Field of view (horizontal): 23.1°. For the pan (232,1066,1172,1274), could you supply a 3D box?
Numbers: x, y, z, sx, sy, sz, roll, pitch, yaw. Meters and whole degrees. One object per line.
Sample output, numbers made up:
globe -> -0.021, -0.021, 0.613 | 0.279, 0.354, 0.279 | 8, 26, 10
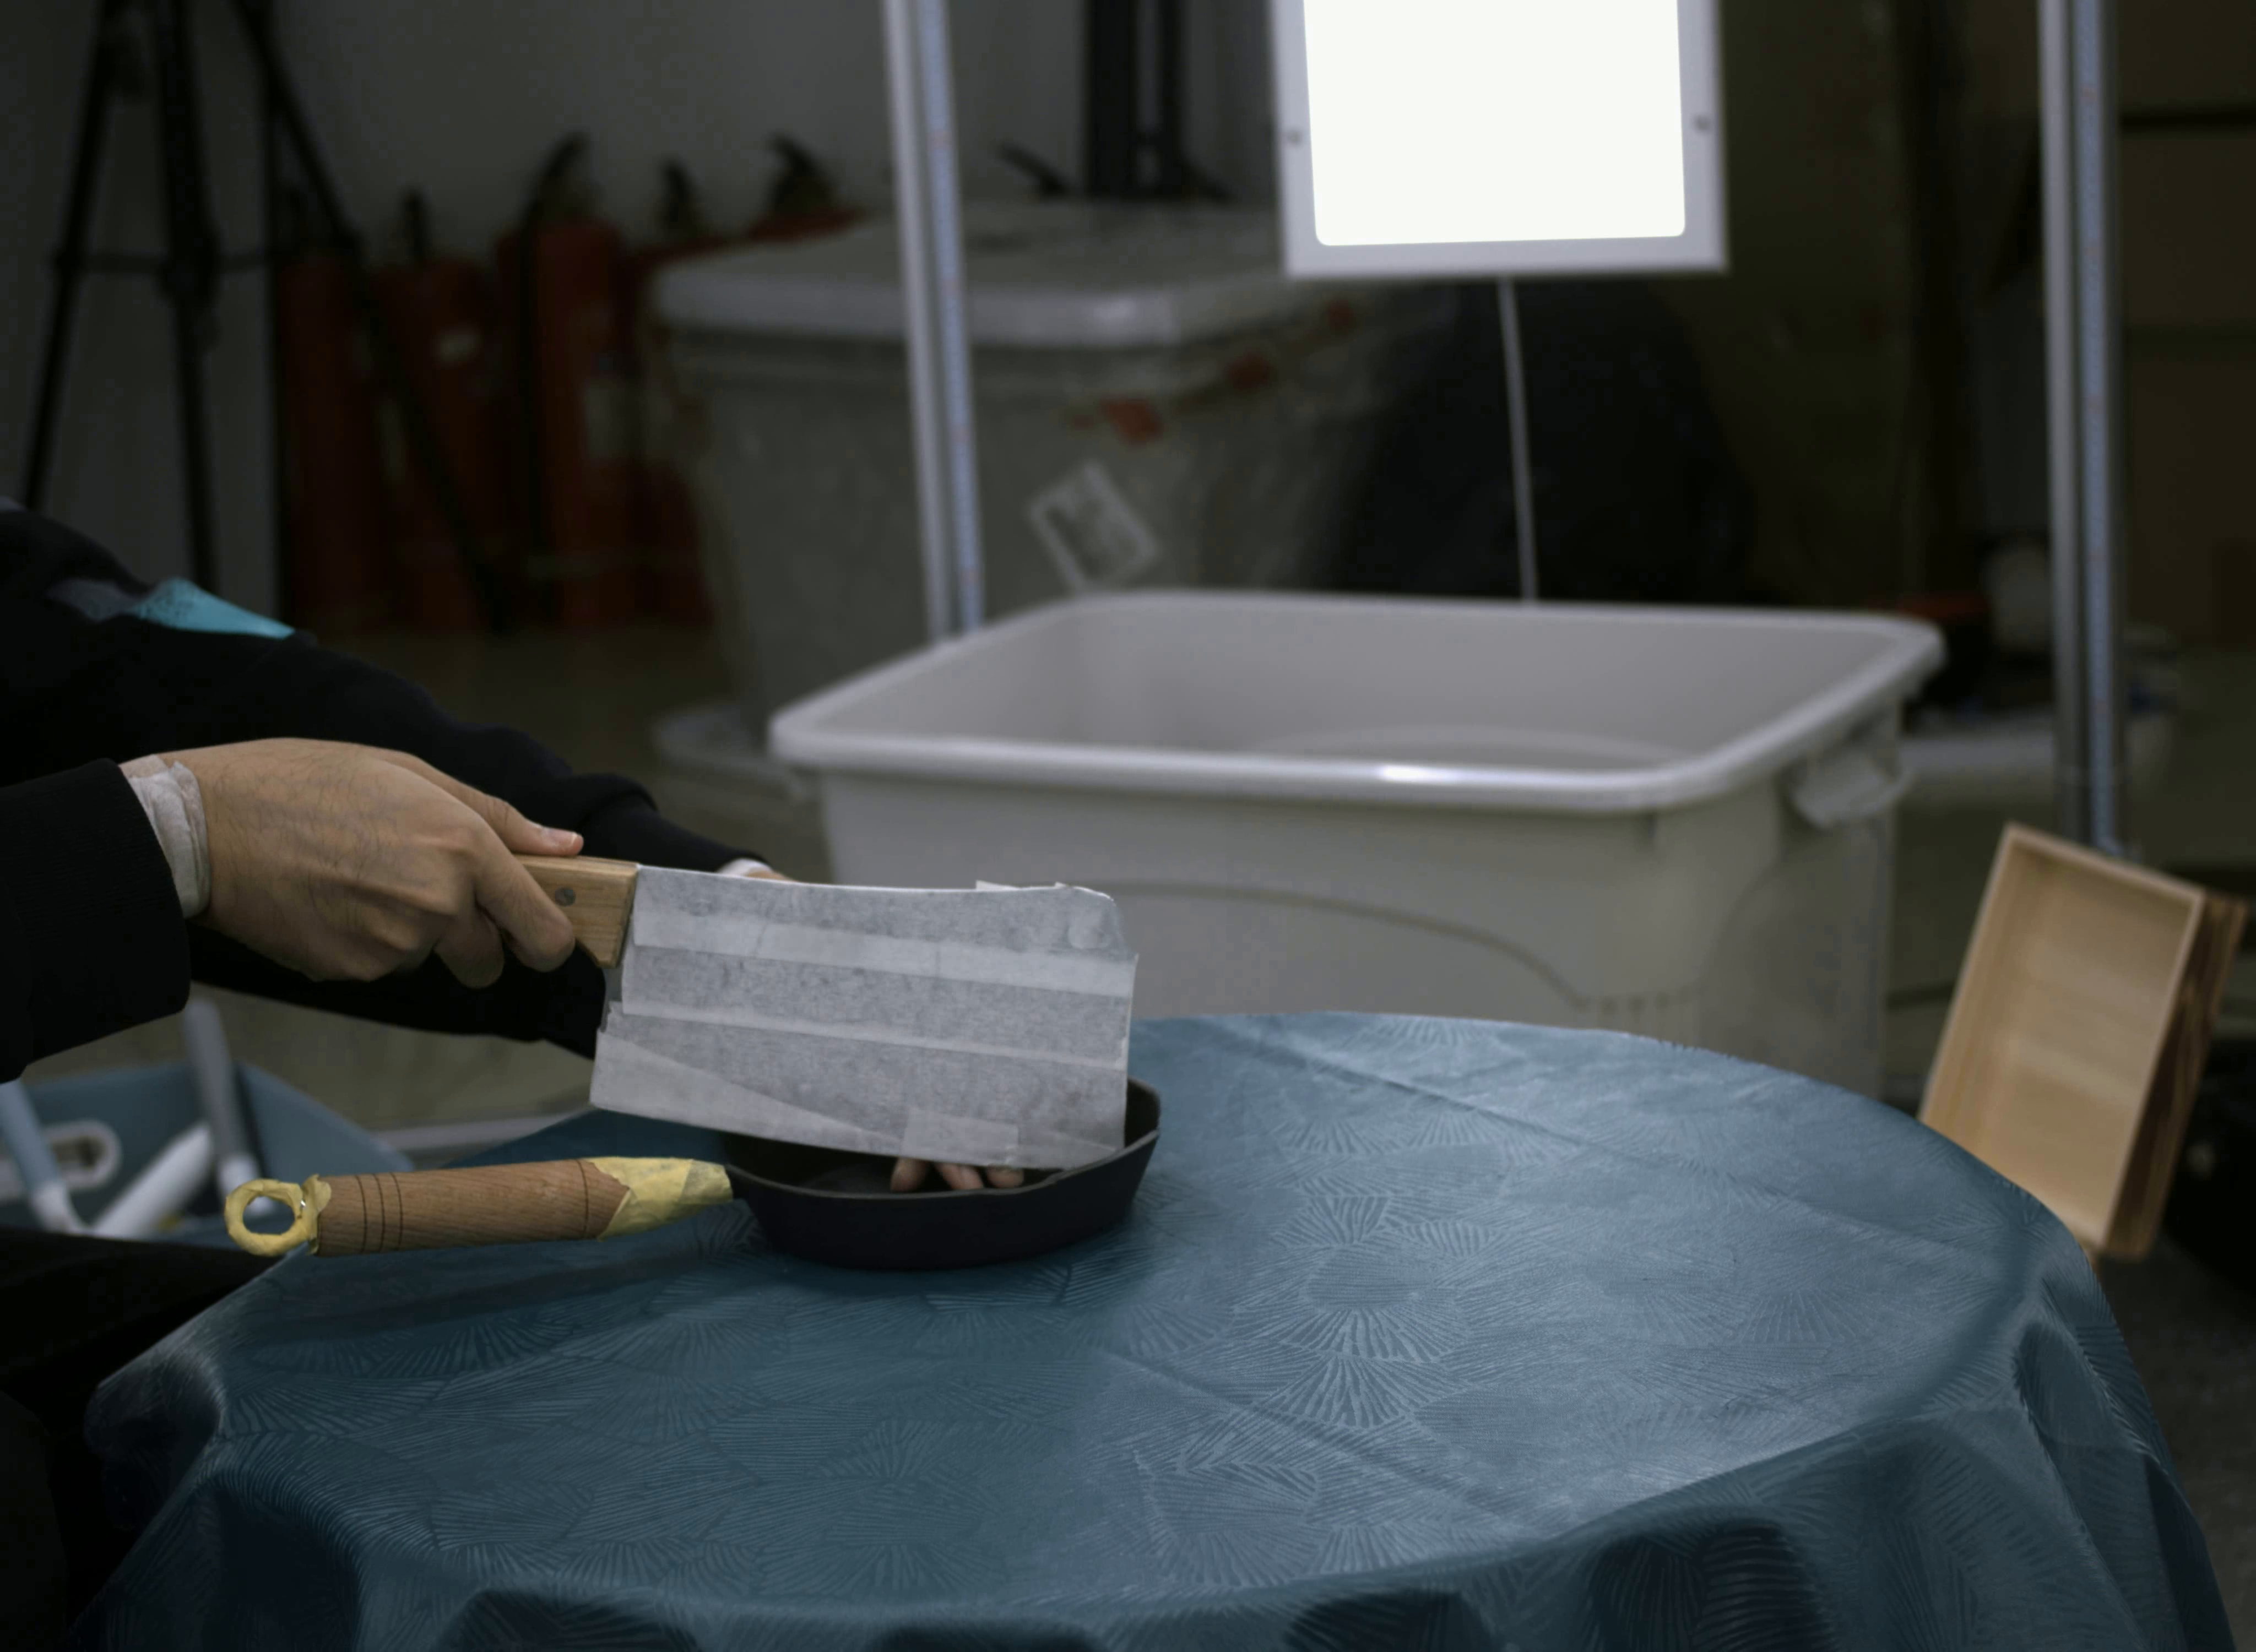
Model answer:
pan -> -0.141, 0.122, 1.861 | 0.319, 0.050, 0.171 | -8, 14, -17

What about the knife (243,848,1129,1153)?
knife -> -0.147, 0.048, 1.887 | 0.314, 0.114, 0.022 | 11, 9, -2
